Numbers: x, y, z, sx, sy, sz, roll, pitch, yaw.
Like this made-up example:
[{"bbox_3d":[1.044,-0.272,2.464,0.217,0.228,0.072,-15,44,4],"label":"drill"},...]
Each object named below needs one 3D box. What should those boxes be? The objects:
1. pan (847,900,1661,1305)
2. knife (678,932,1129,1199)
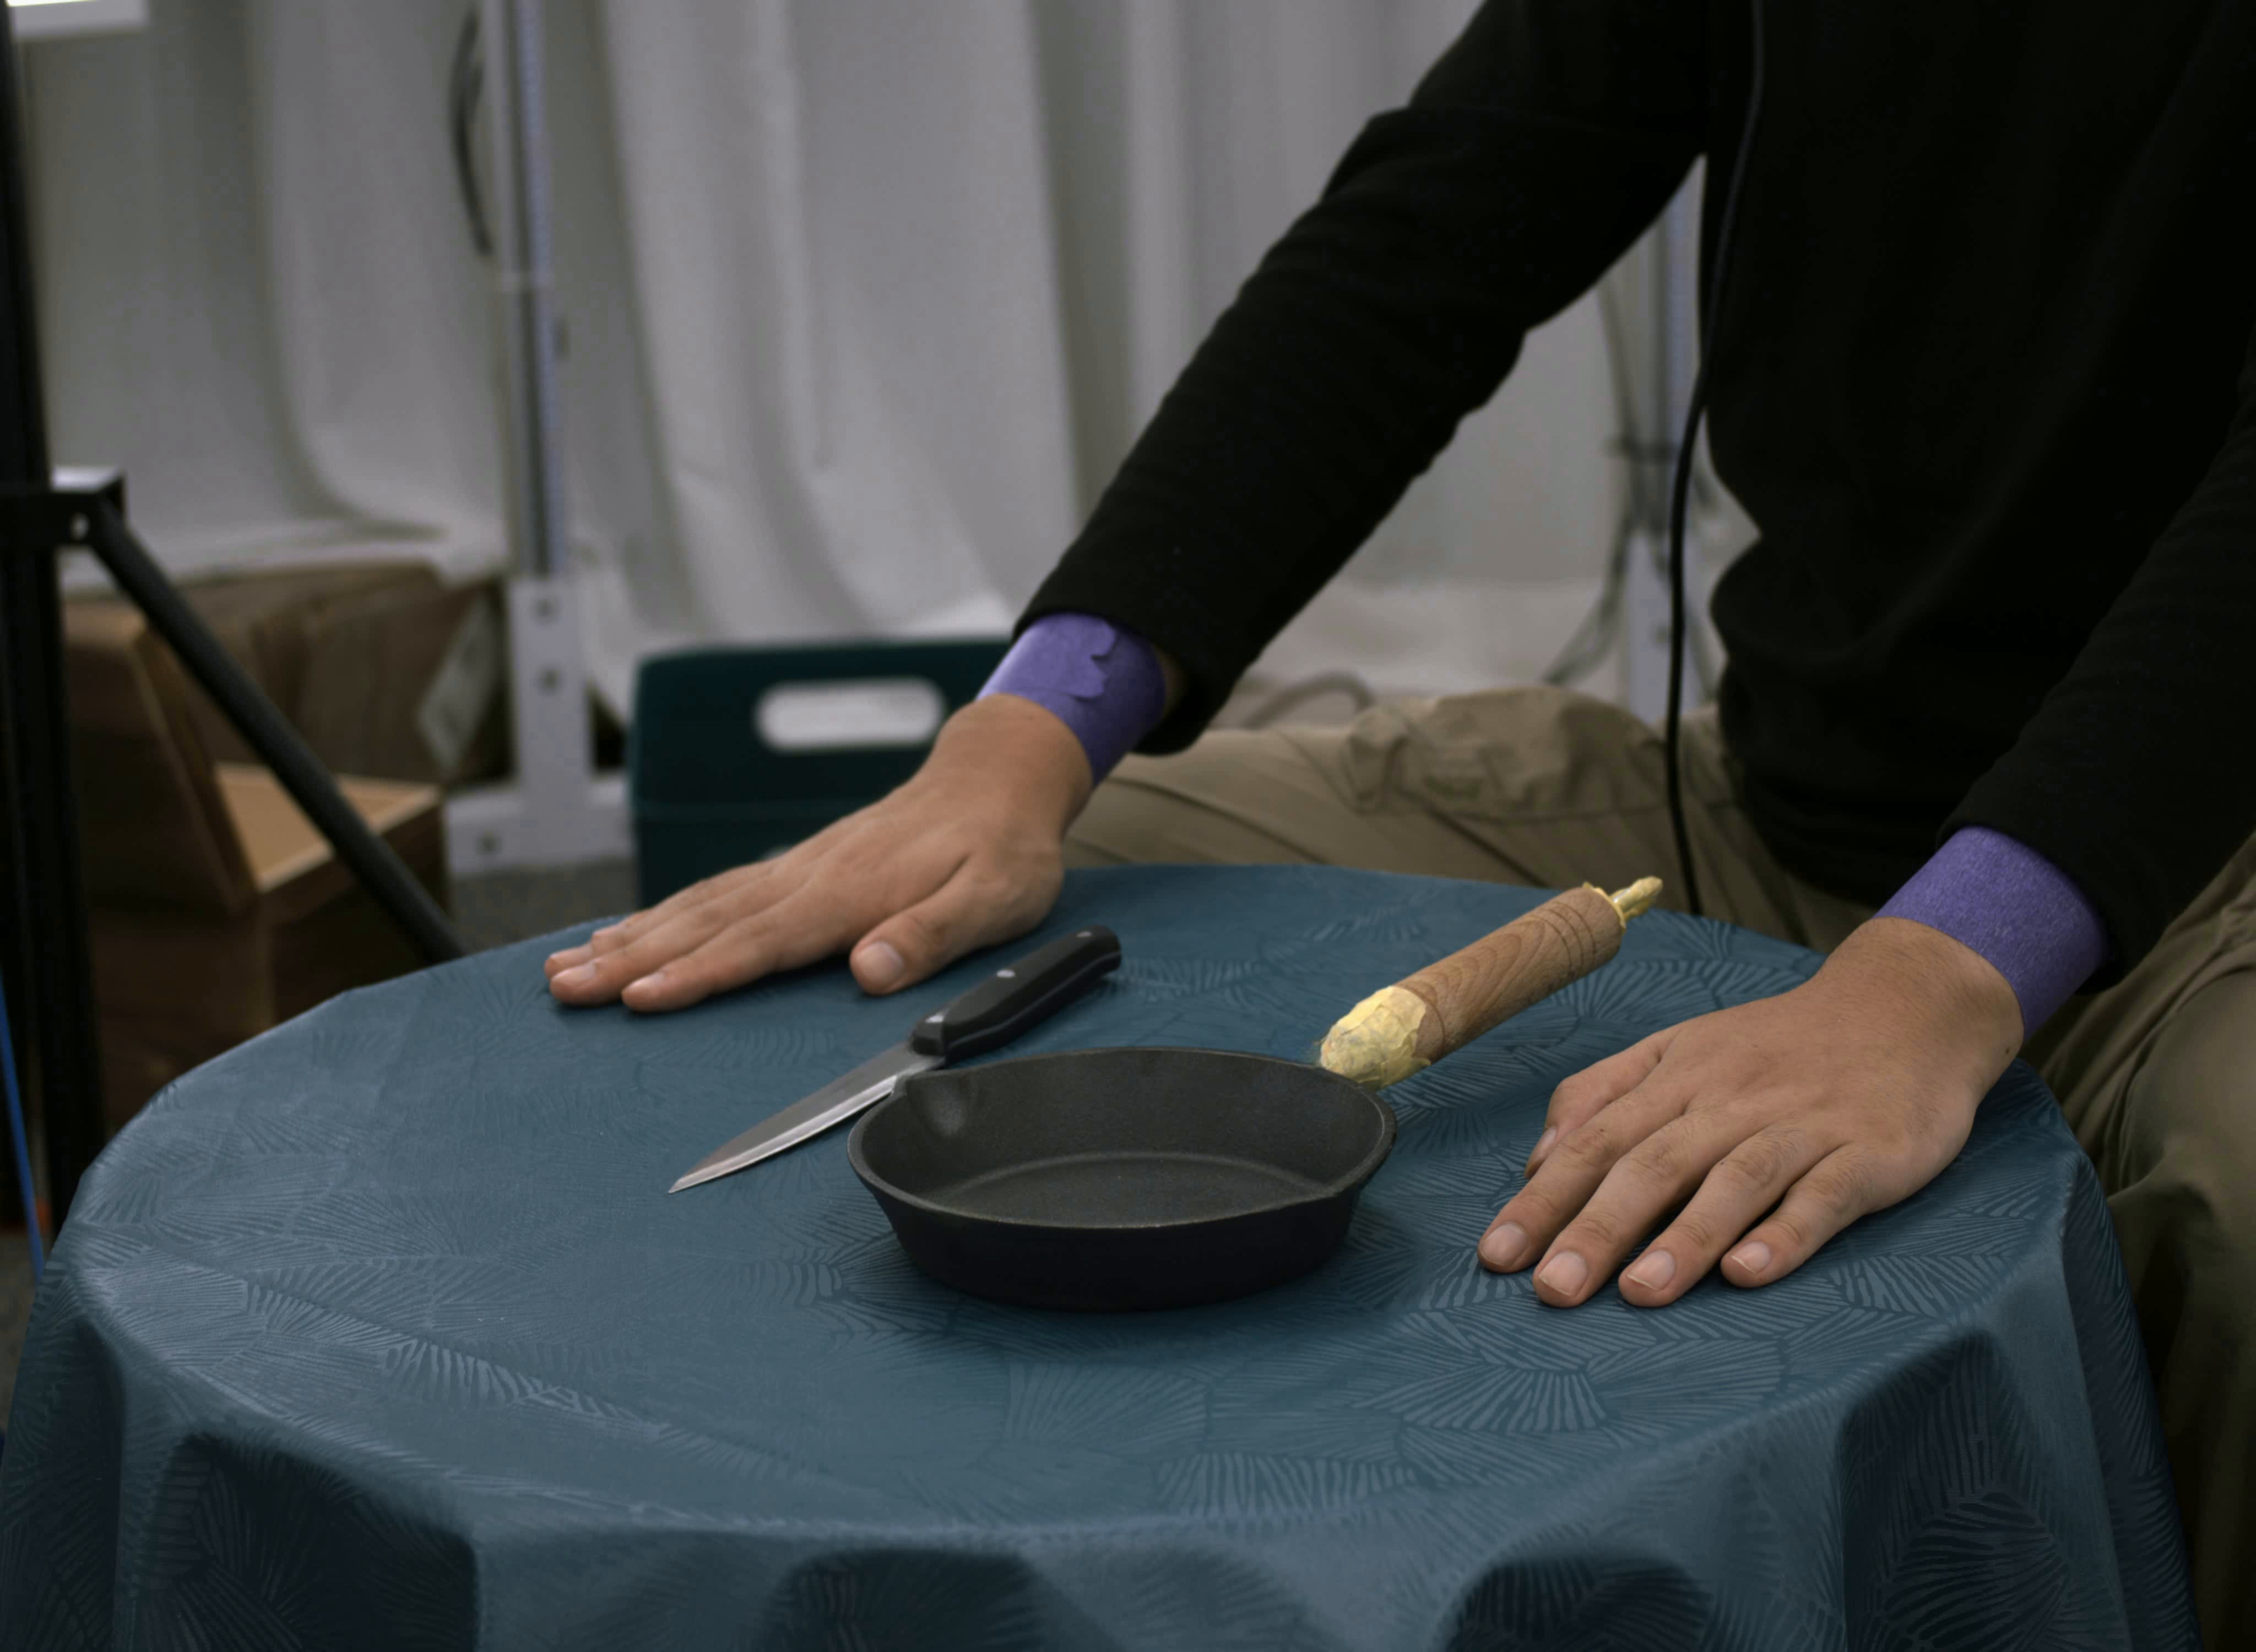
[{"bbox_3d":[0.056,0.078,1.569,0.173,0.049,0.317,13,21,43],"label":"pan"},{"bbox_3d":[-0.070,0.075,1.665,0.025,0.016,0.234,9,22,32],"label":"knife"}]
